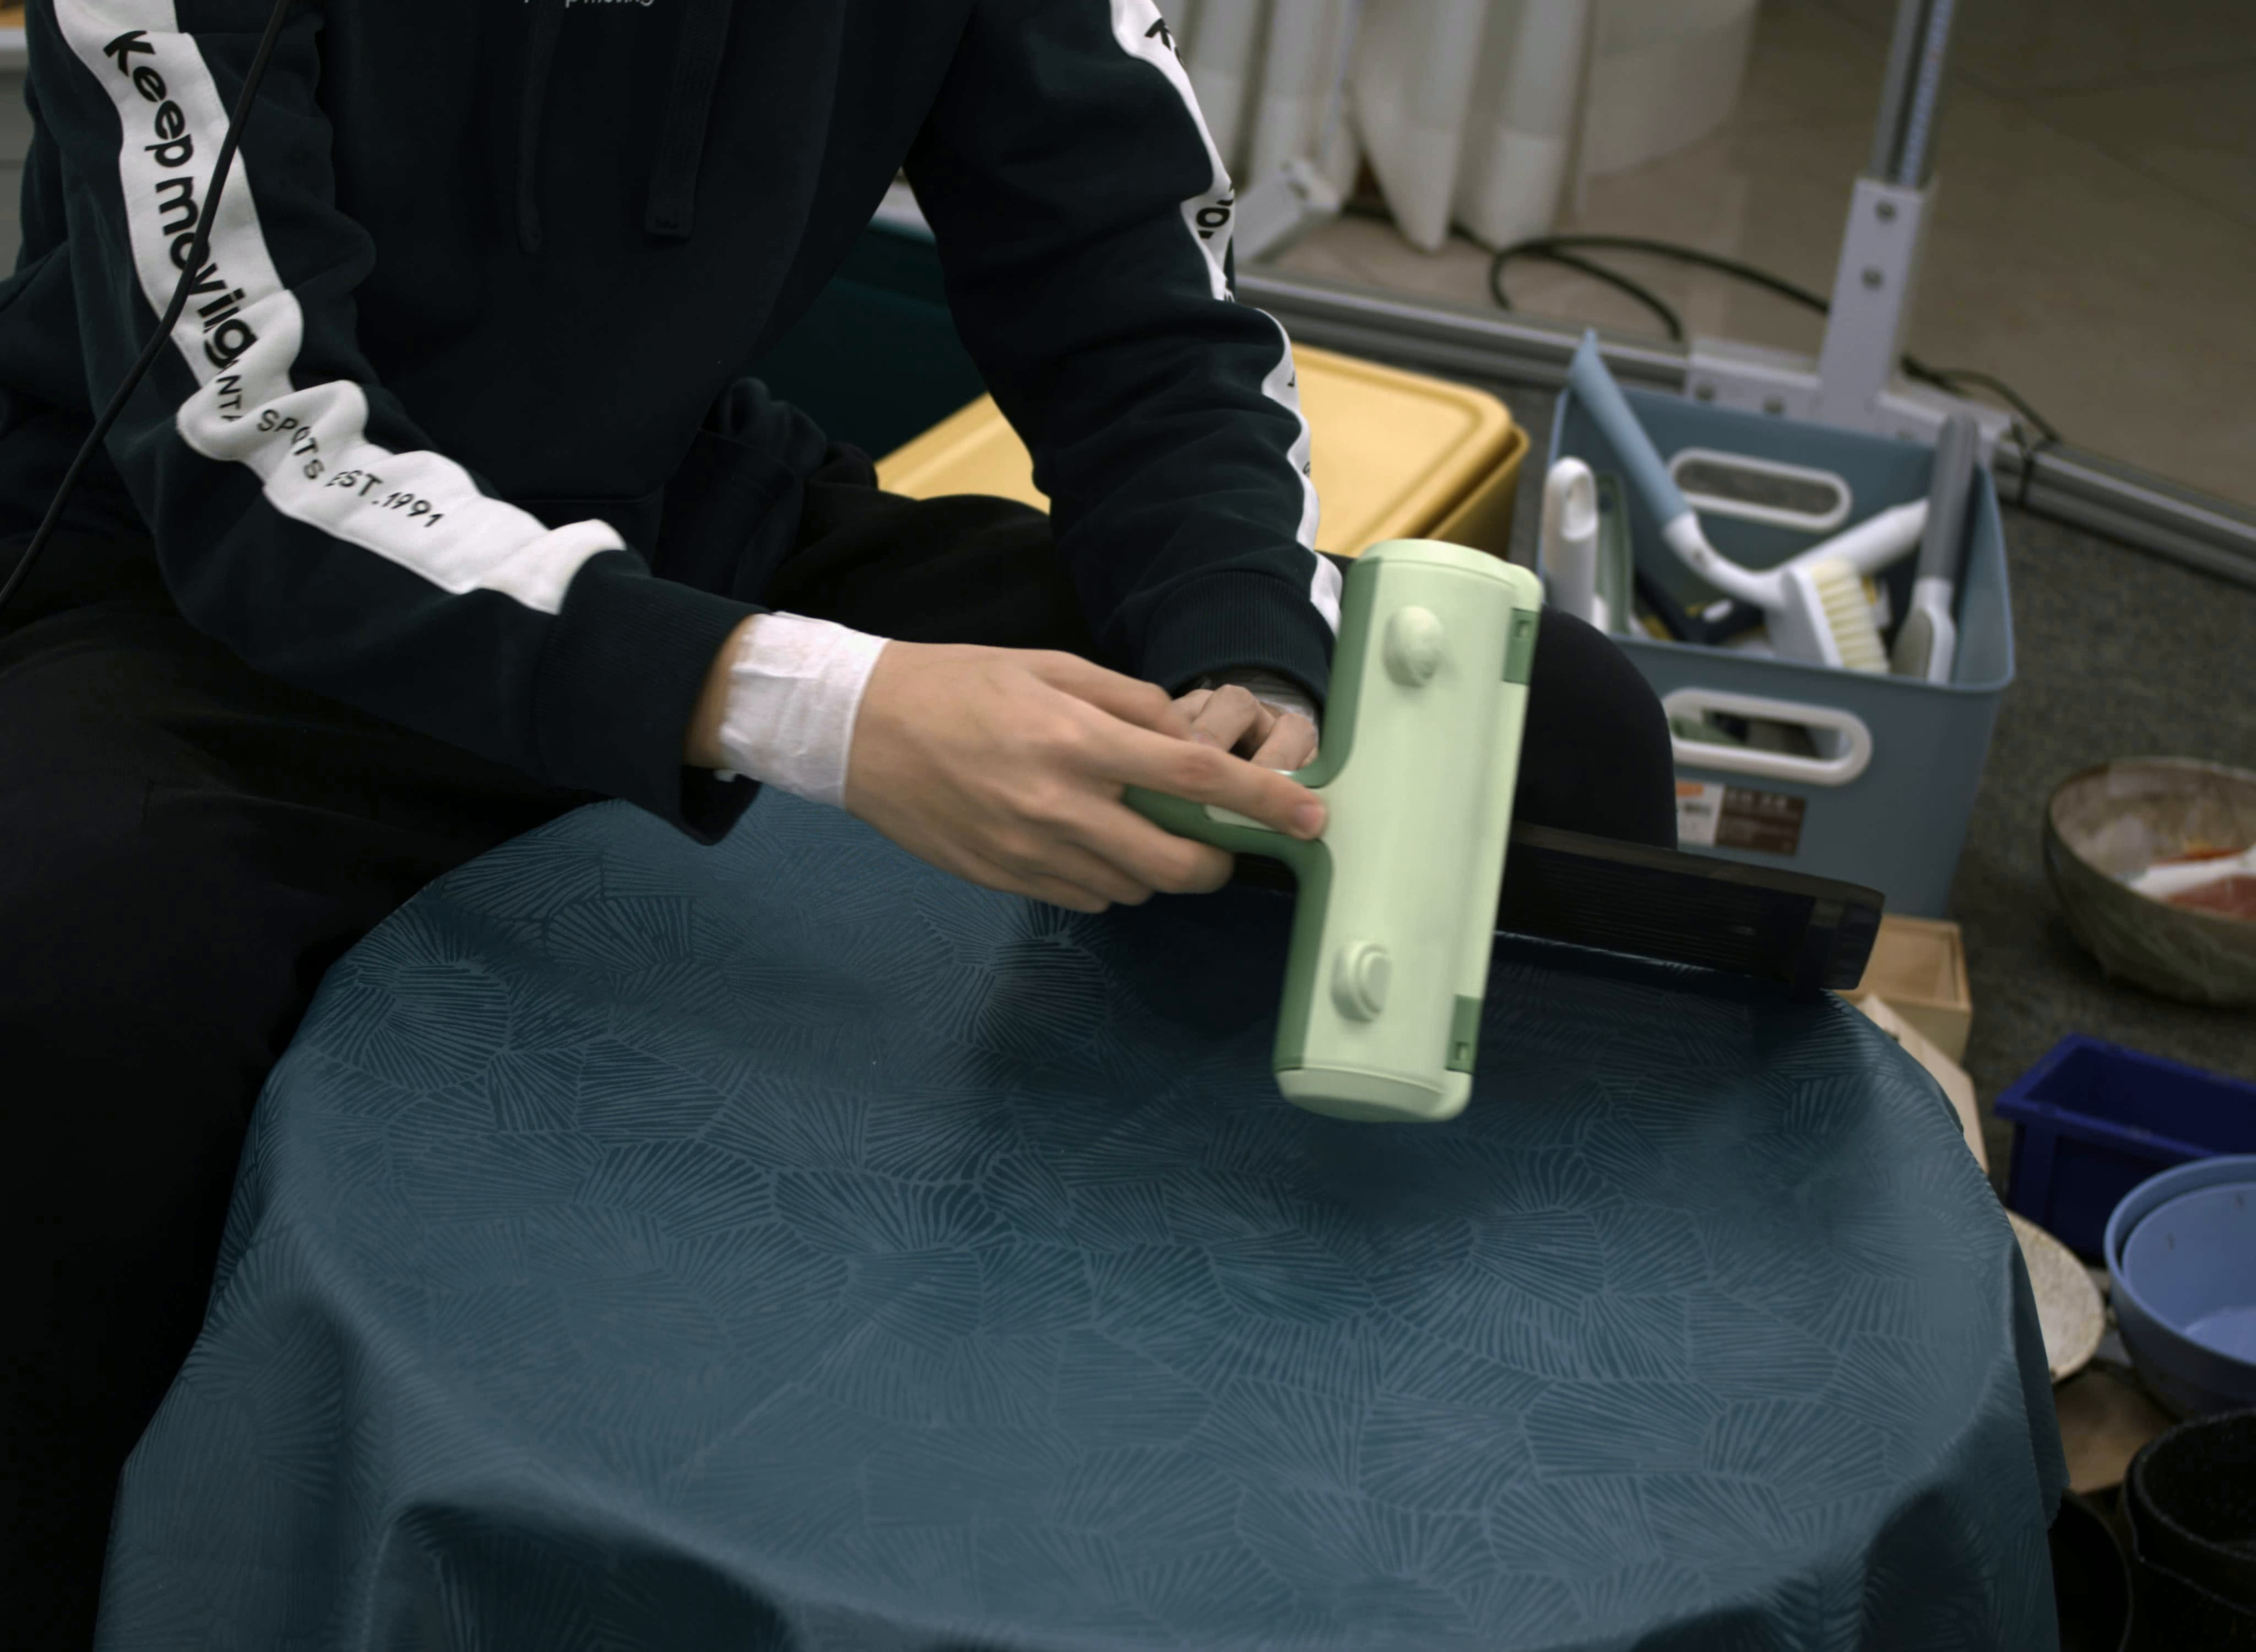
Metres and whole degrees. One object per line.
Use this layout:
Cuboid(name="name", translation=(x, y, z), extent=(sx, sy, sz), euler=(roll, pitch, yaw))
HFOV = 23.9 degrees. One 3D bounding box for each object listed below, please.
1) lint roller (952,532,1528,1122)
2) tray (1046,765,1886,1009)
Cuboid(name="lint roller", translation=(0.033, -0.010, 1.793), extent=(0.183, 0.199, 0.082), euler=(10, -11, -3))
Cuboid(name="tray", translation=(0.116, 0.020, 1.913), extent=(0.306, 0.019, 0.169), euler=(10, -11, 7))
